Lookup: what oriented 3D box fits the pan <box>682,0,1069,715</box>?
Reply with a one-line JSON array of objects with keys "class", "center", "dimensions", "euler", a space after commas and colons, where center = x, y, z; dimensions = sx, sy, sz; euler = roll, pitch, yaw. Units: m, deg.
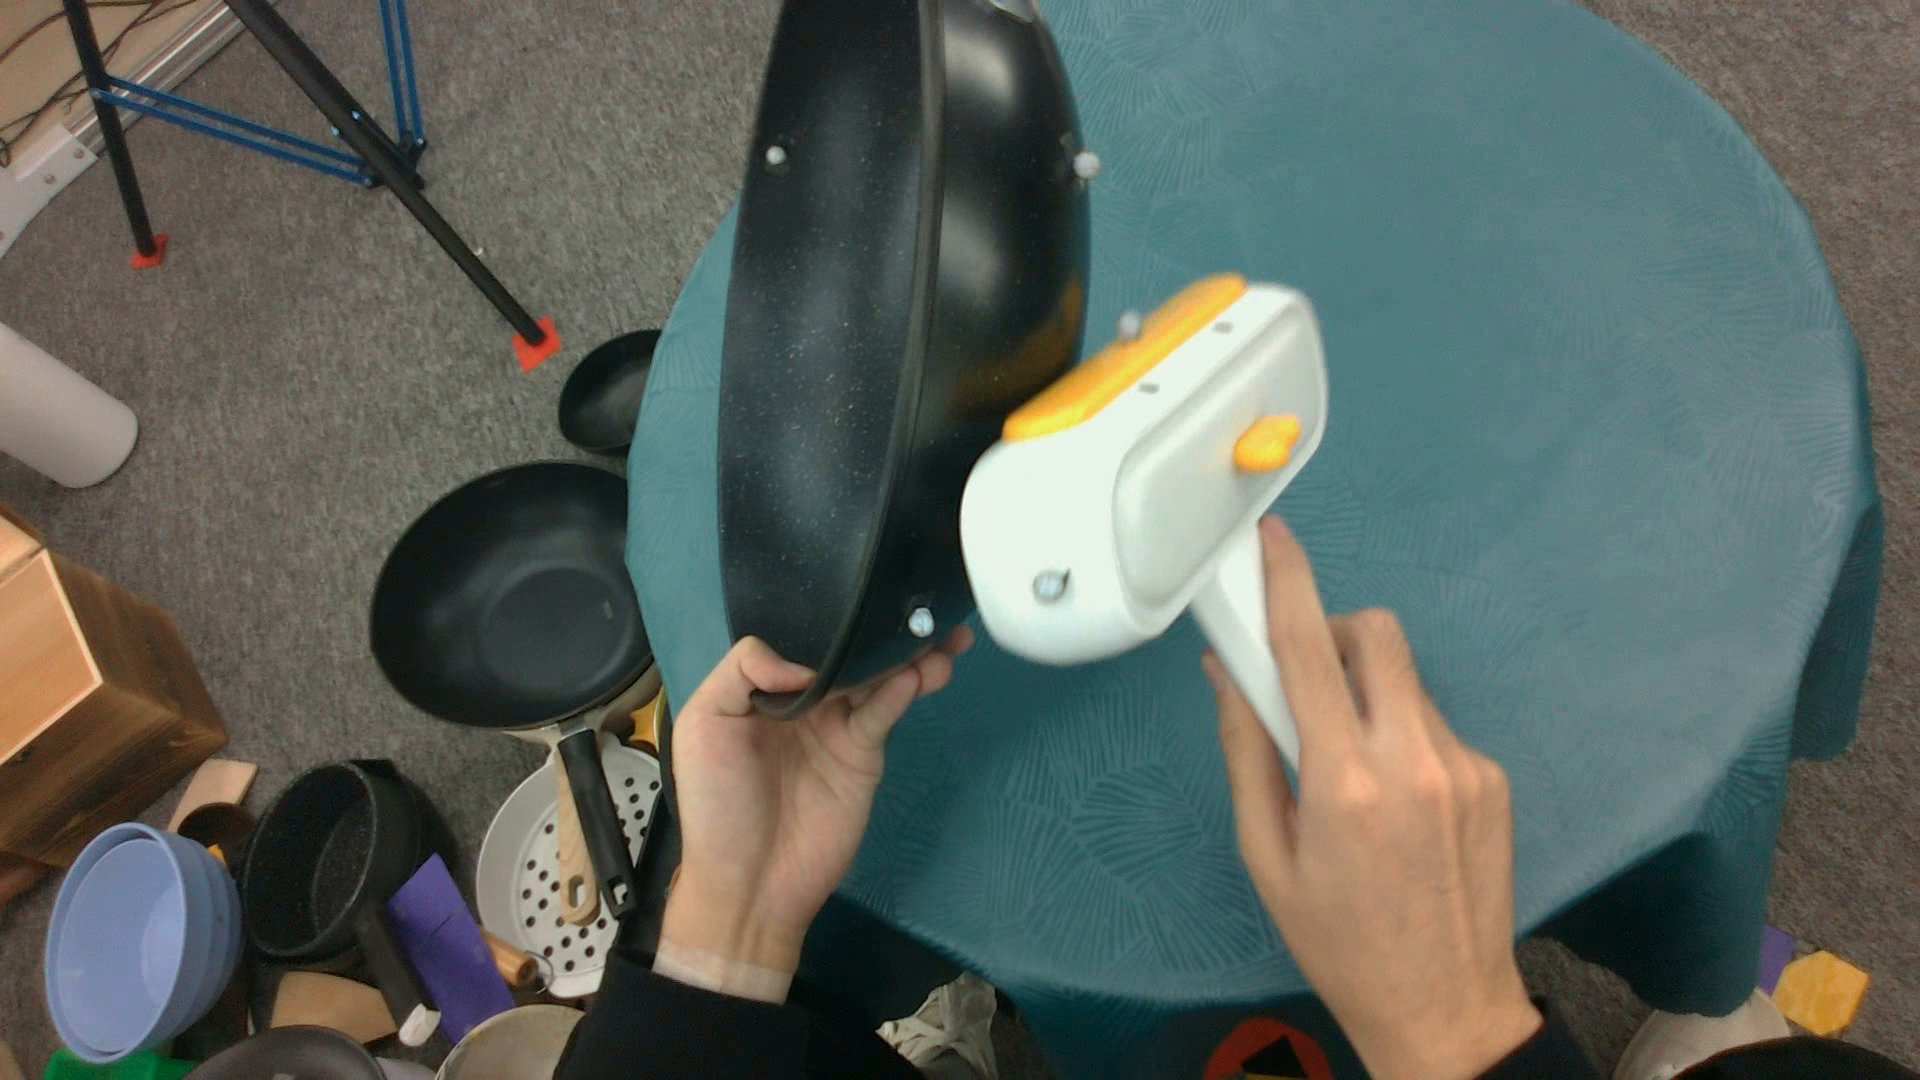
[{"class": "pan", "center": [-0.019, -0.141, 0.474], "dimensions": [0.112, 0.474, 0.311], "euler": [3, 49, -23]}]

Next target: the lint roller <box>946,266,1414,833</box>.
[{"class": "lint roller", "center": [0.089, 0.017, 0.454], "dimensions": [0.074, 0.192, 0.194], "euler": [-16, 19, 33]}]
